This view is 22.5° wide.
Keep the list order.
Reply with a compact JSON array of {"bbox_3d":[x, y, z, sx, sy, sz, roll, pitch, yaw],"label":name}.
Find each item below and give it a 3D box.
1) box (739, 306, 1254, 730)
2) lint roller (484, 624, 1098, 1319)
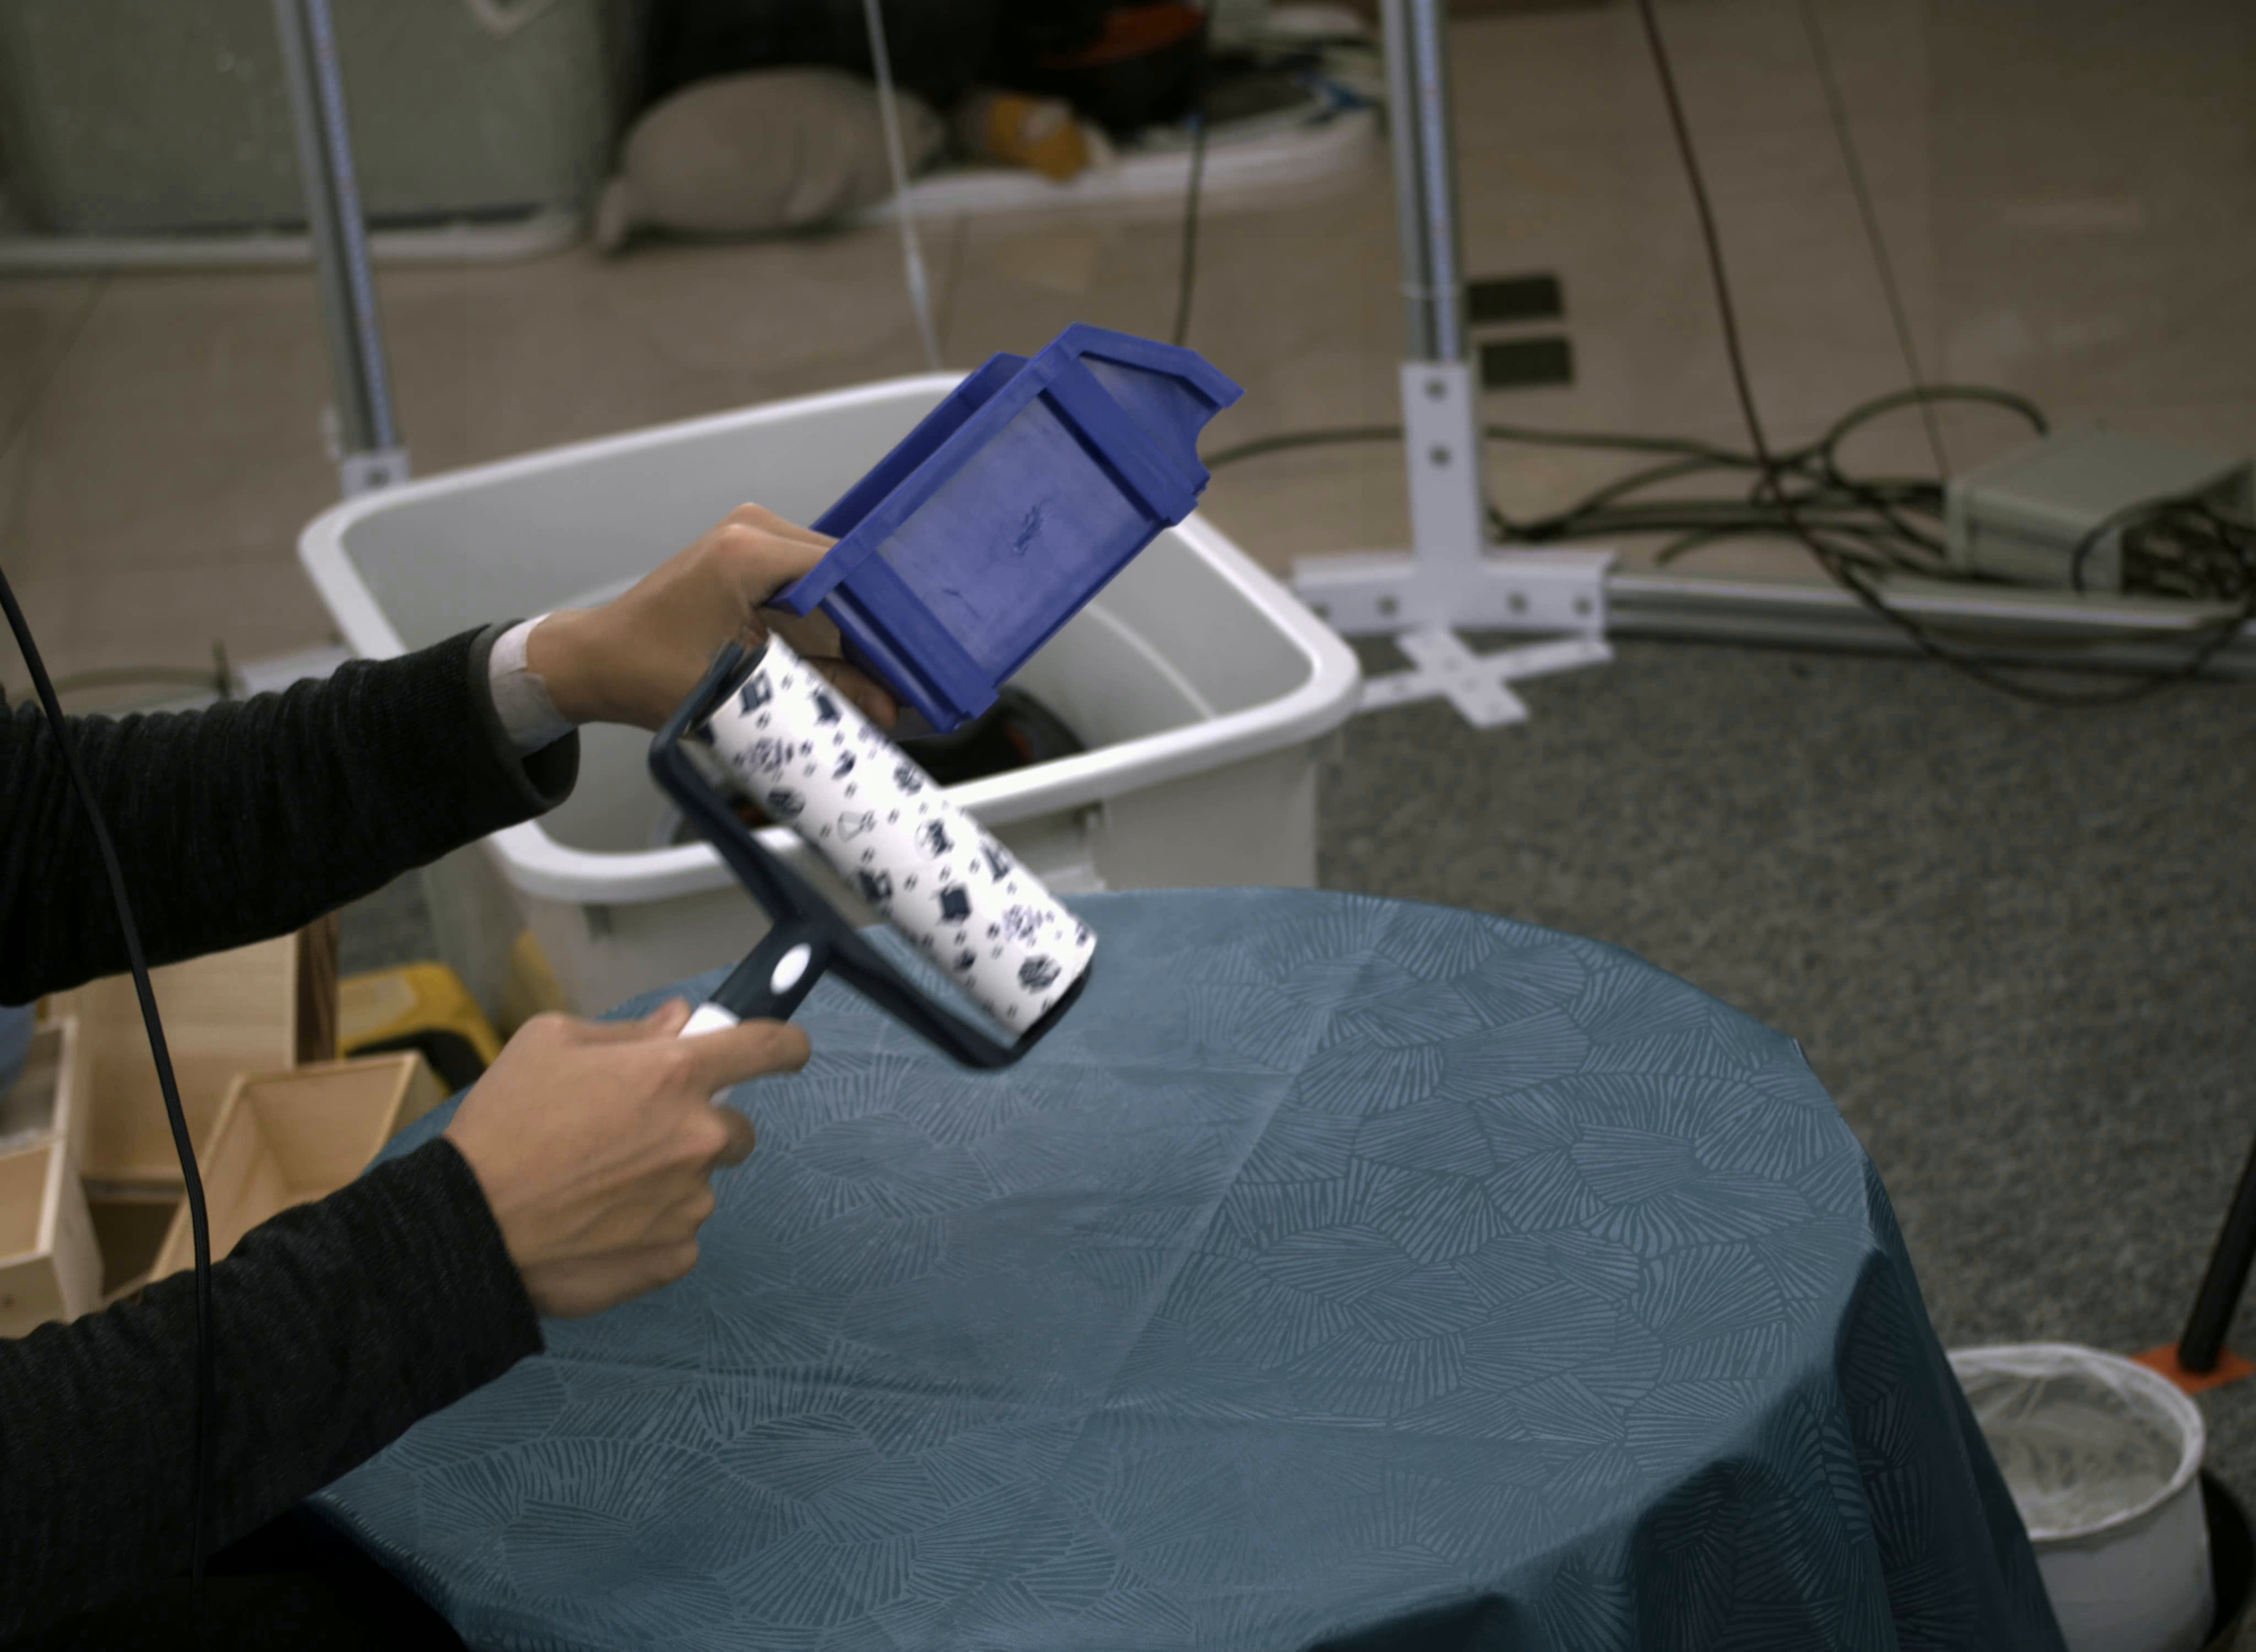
[{"bbox_3d":[-0.045,-0.118,2.096,0.178,0.082,0.124,-47,10,-9],"label":"box"},{"bbox_3d":[-0.138,0.073,1.969,0.245,0.177,0.050,-53,17,-20],"label":"lint roller"}]
